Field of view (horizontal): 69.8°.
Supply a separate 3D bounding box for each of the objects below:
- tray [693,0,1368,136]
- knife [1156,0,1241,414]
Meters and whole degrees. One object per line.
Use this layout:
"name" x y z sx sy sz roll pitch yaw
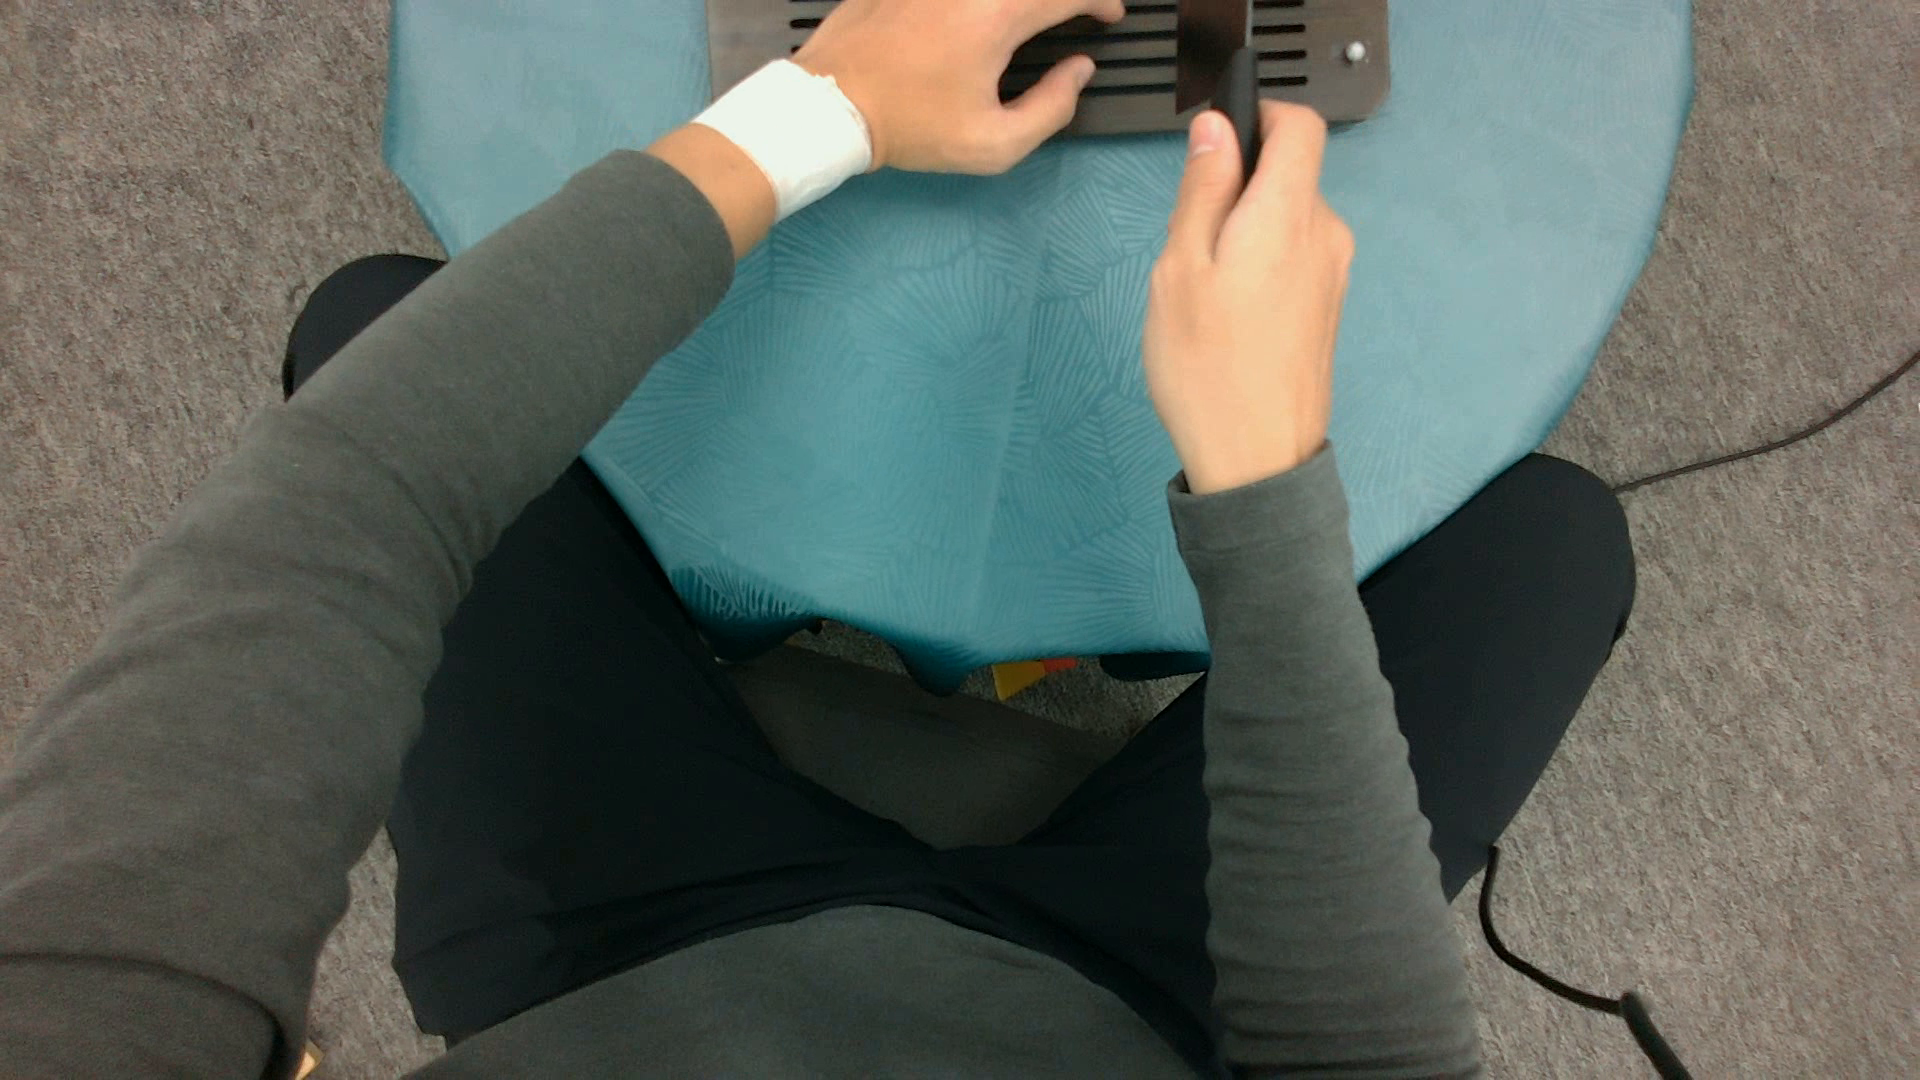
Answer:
"tray" 0.031 -0.274 0.626 0.306 0.018 0.170 -3 92 -3
"knife" 0.087 -0.199 0.515 0.021 0.081 0.302 -1 91 -13
